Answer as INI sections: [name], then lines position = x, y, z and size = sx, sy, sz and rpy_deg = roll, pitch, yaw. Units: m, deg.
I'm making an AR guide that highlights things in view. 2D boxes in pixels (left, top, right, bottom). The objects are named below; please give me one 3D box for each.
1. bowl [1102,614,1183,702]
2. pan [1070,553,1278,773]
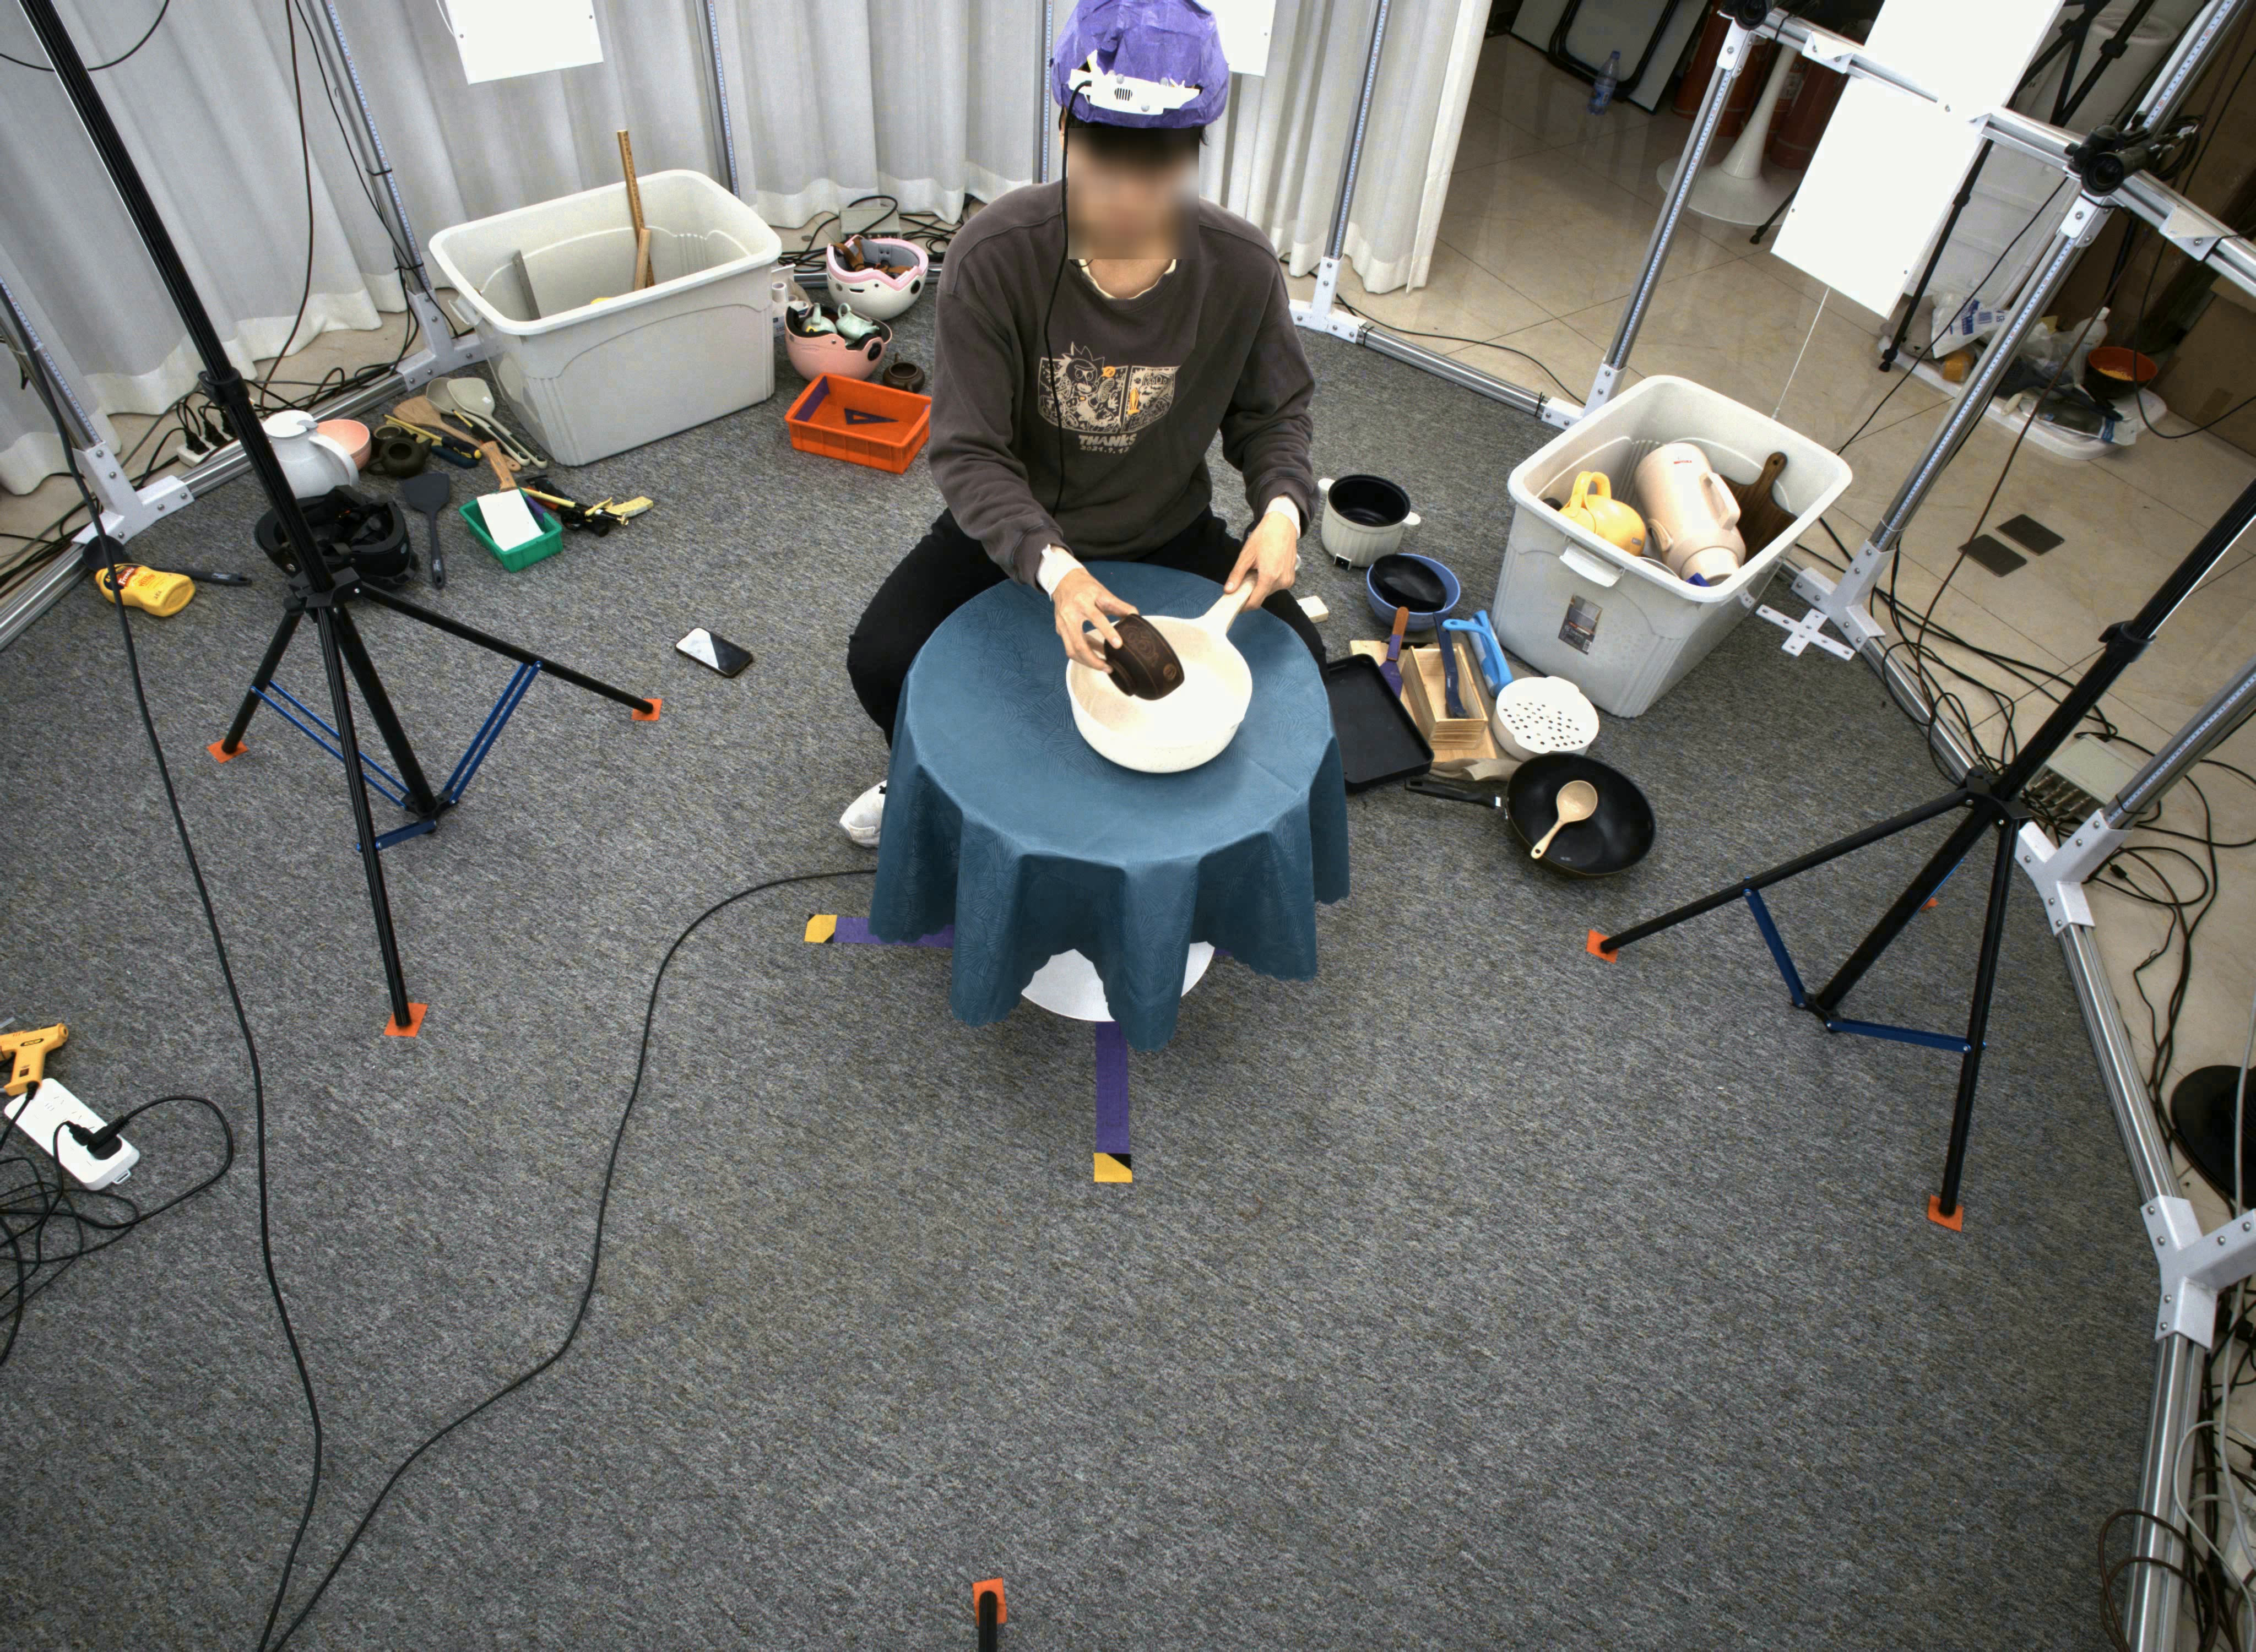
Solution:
[bowl]
position = 0.009, -0.213, 1.688
size = 0.070, 0.115, 0.120
rpy_deg = -40, 61, -13
[pan]
position = 0.096, -0.235, 1.813
size = 0.266, 0.099, 0.441
rpy_deg = 27, 52, 21
